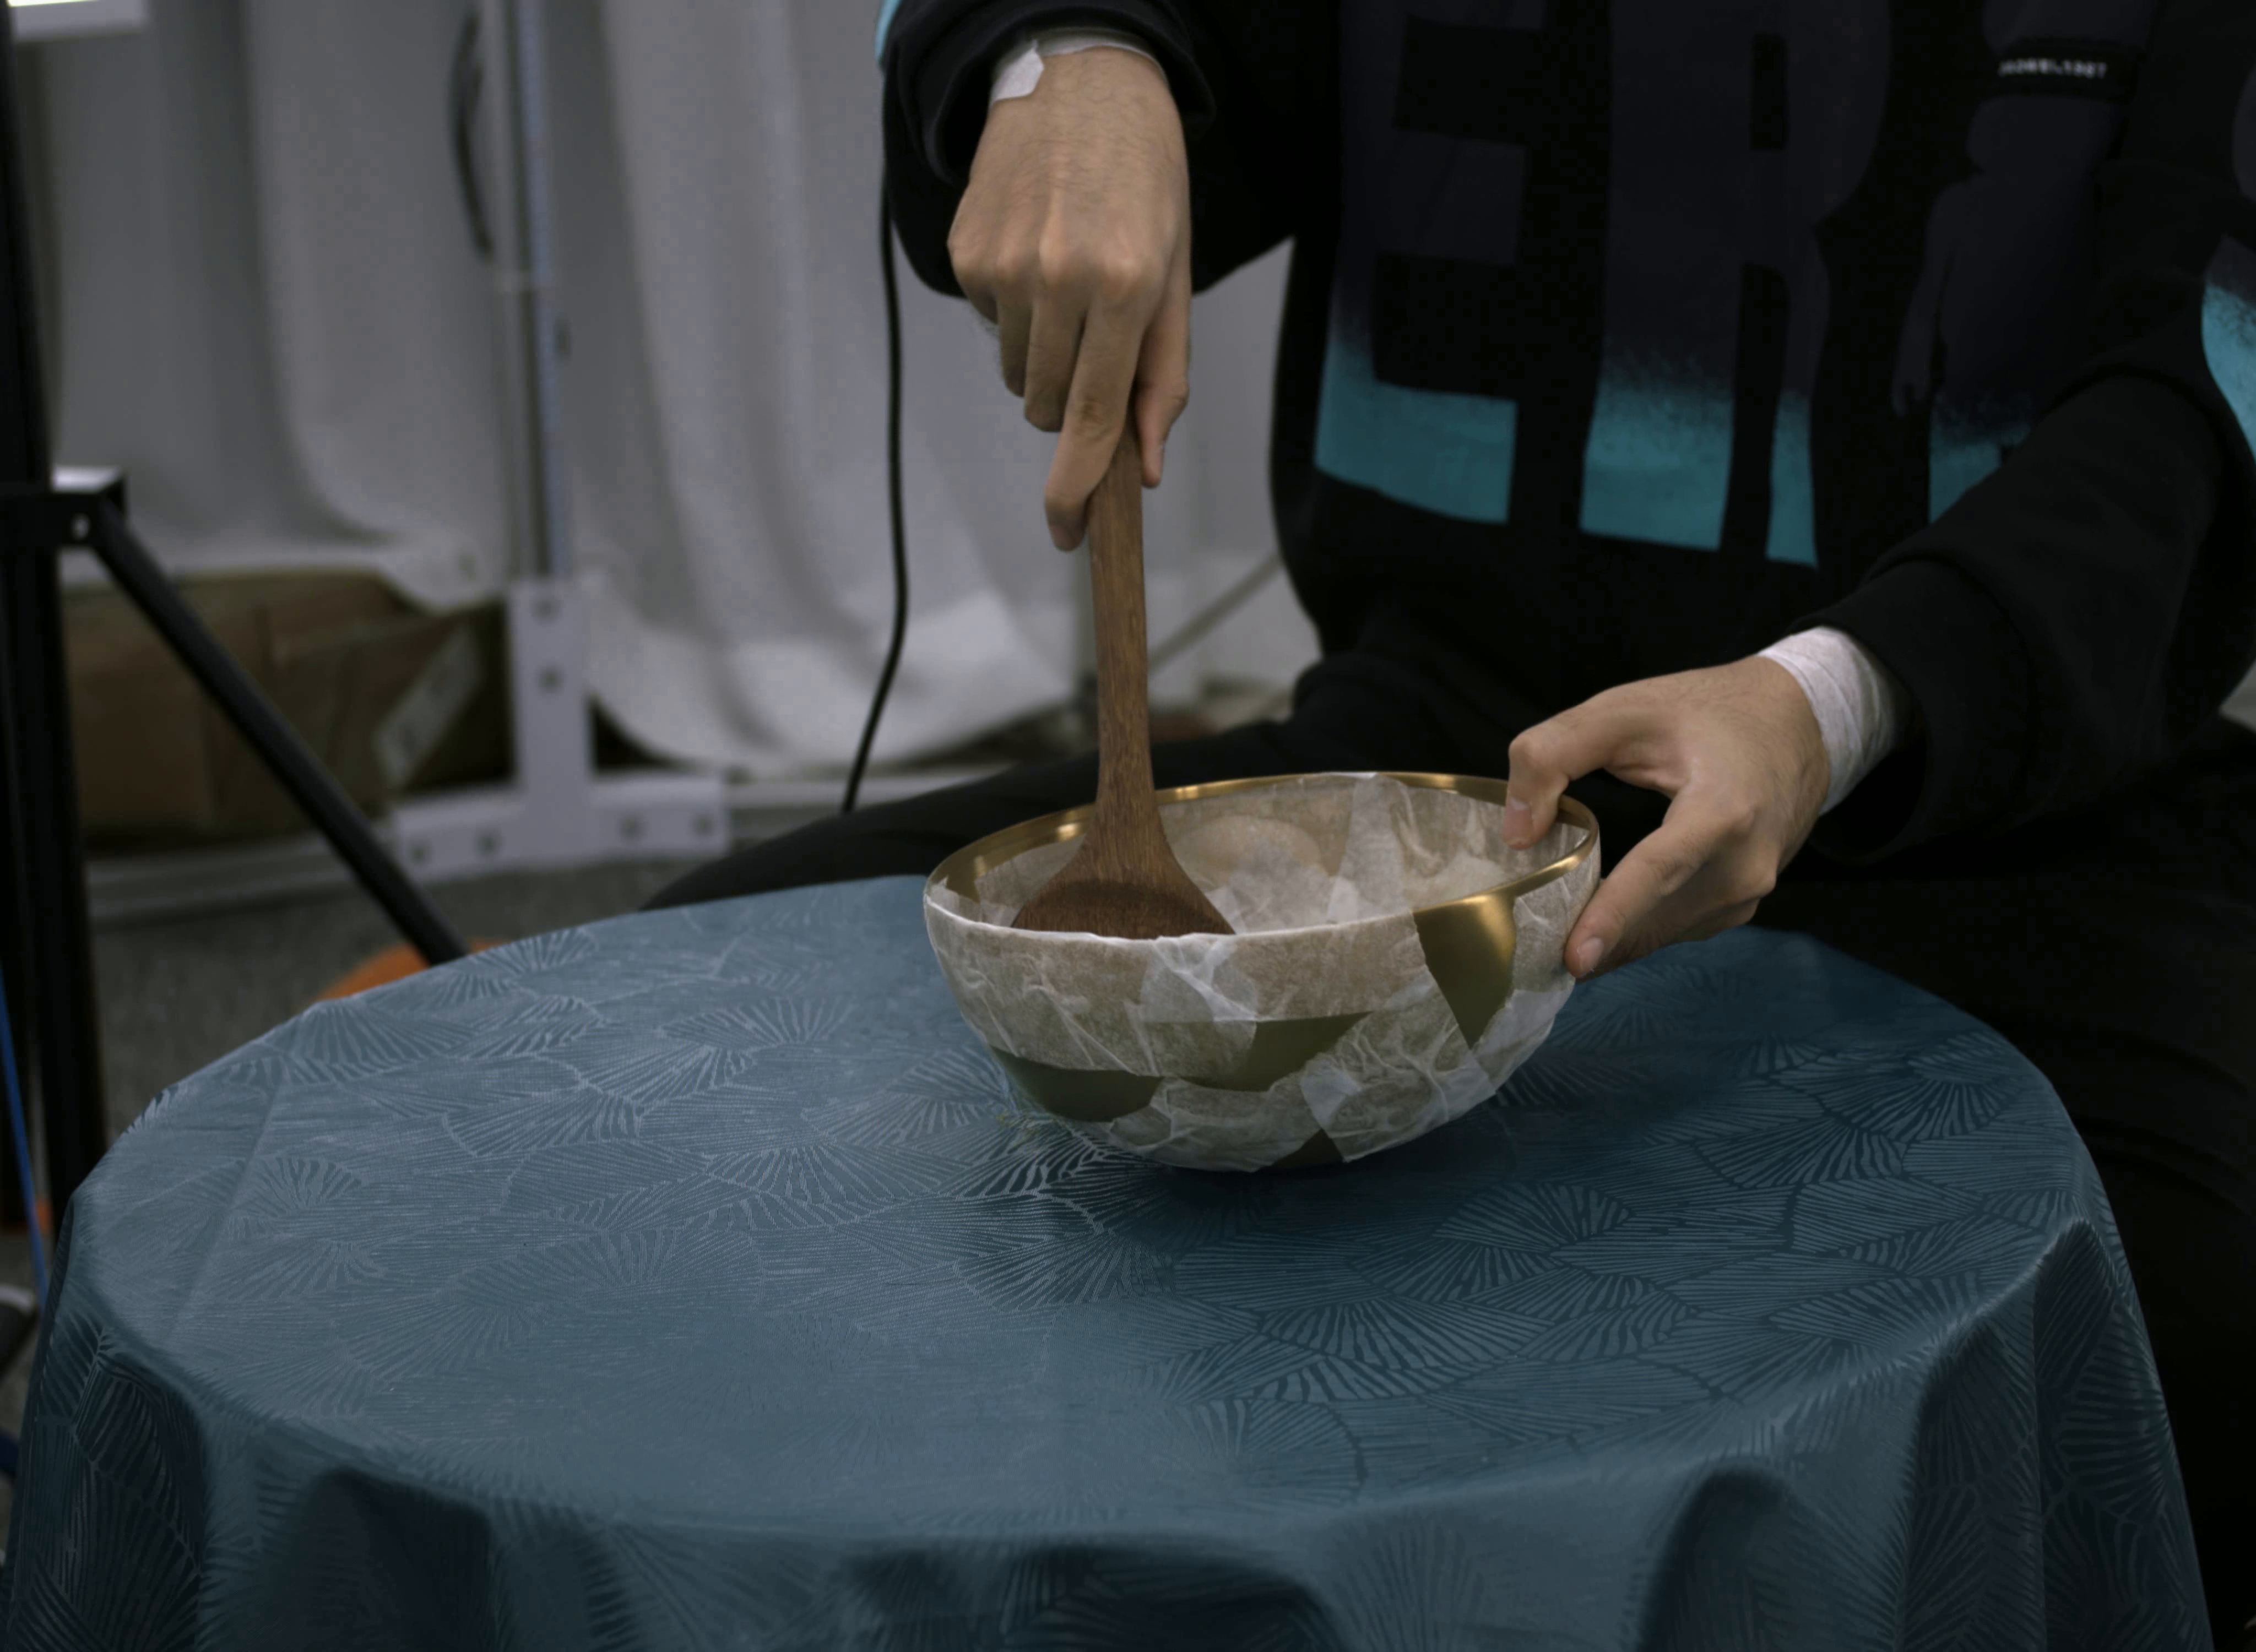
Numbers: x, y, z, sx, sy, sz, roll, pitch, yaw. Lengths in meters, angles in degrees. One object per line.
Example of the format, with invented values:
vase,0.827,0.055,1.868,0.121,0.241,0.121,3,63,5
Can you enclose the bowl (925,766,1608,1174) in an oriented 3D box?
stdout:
bowl,0.047,0.050,1.579,0.214,0.094,0.215,-6,12,0

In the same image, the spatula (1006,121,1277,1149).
spatula,-0.003,-0.069,1.669,0.094,0.390,0.016,9,-34,-20
